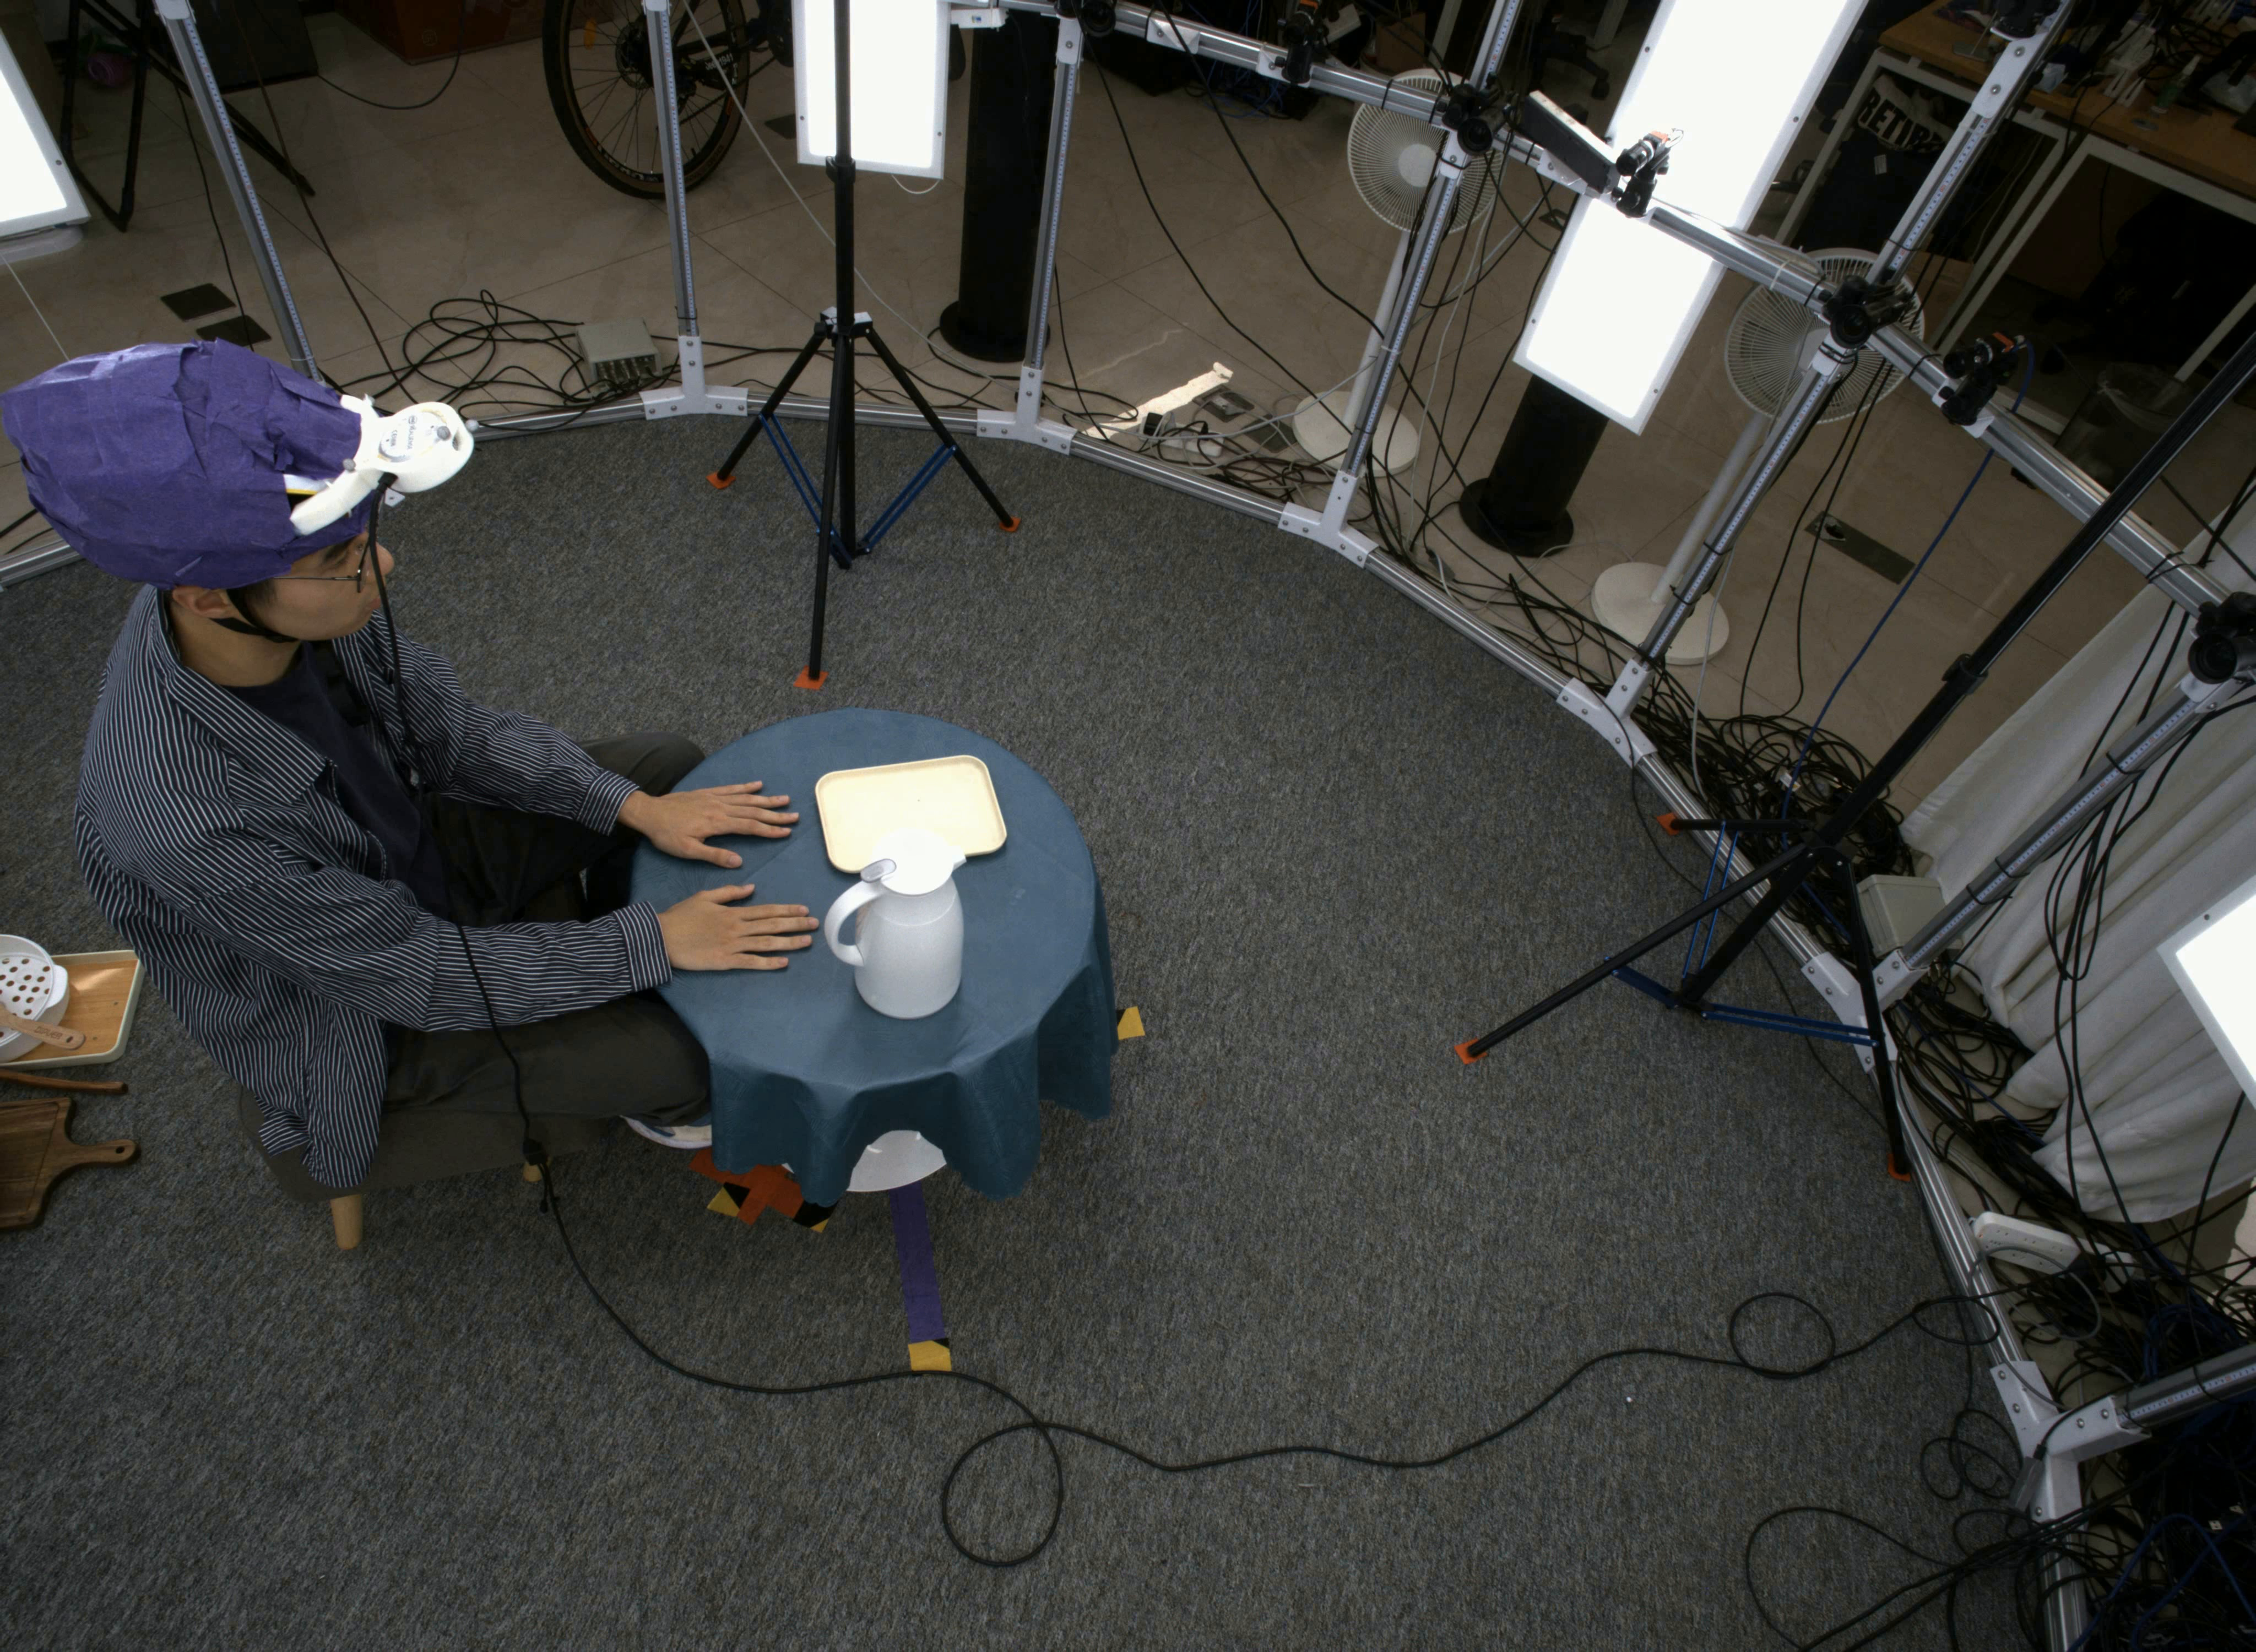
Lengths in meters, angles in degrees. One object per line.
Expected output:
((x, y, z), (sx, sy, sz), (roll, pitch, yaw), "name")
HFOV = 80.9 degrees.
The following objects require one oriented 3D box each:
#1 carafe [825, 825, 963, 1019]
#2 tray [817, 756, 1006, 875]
((-0.274, 0.114, 1.530), (0.168, 0.254, 0.129), (-25, 62, -26), "carafe")
((-0.294, -0.016, 1.773), (0.240, 0.018, 0.167), (-9, 56, -19), "tray")
